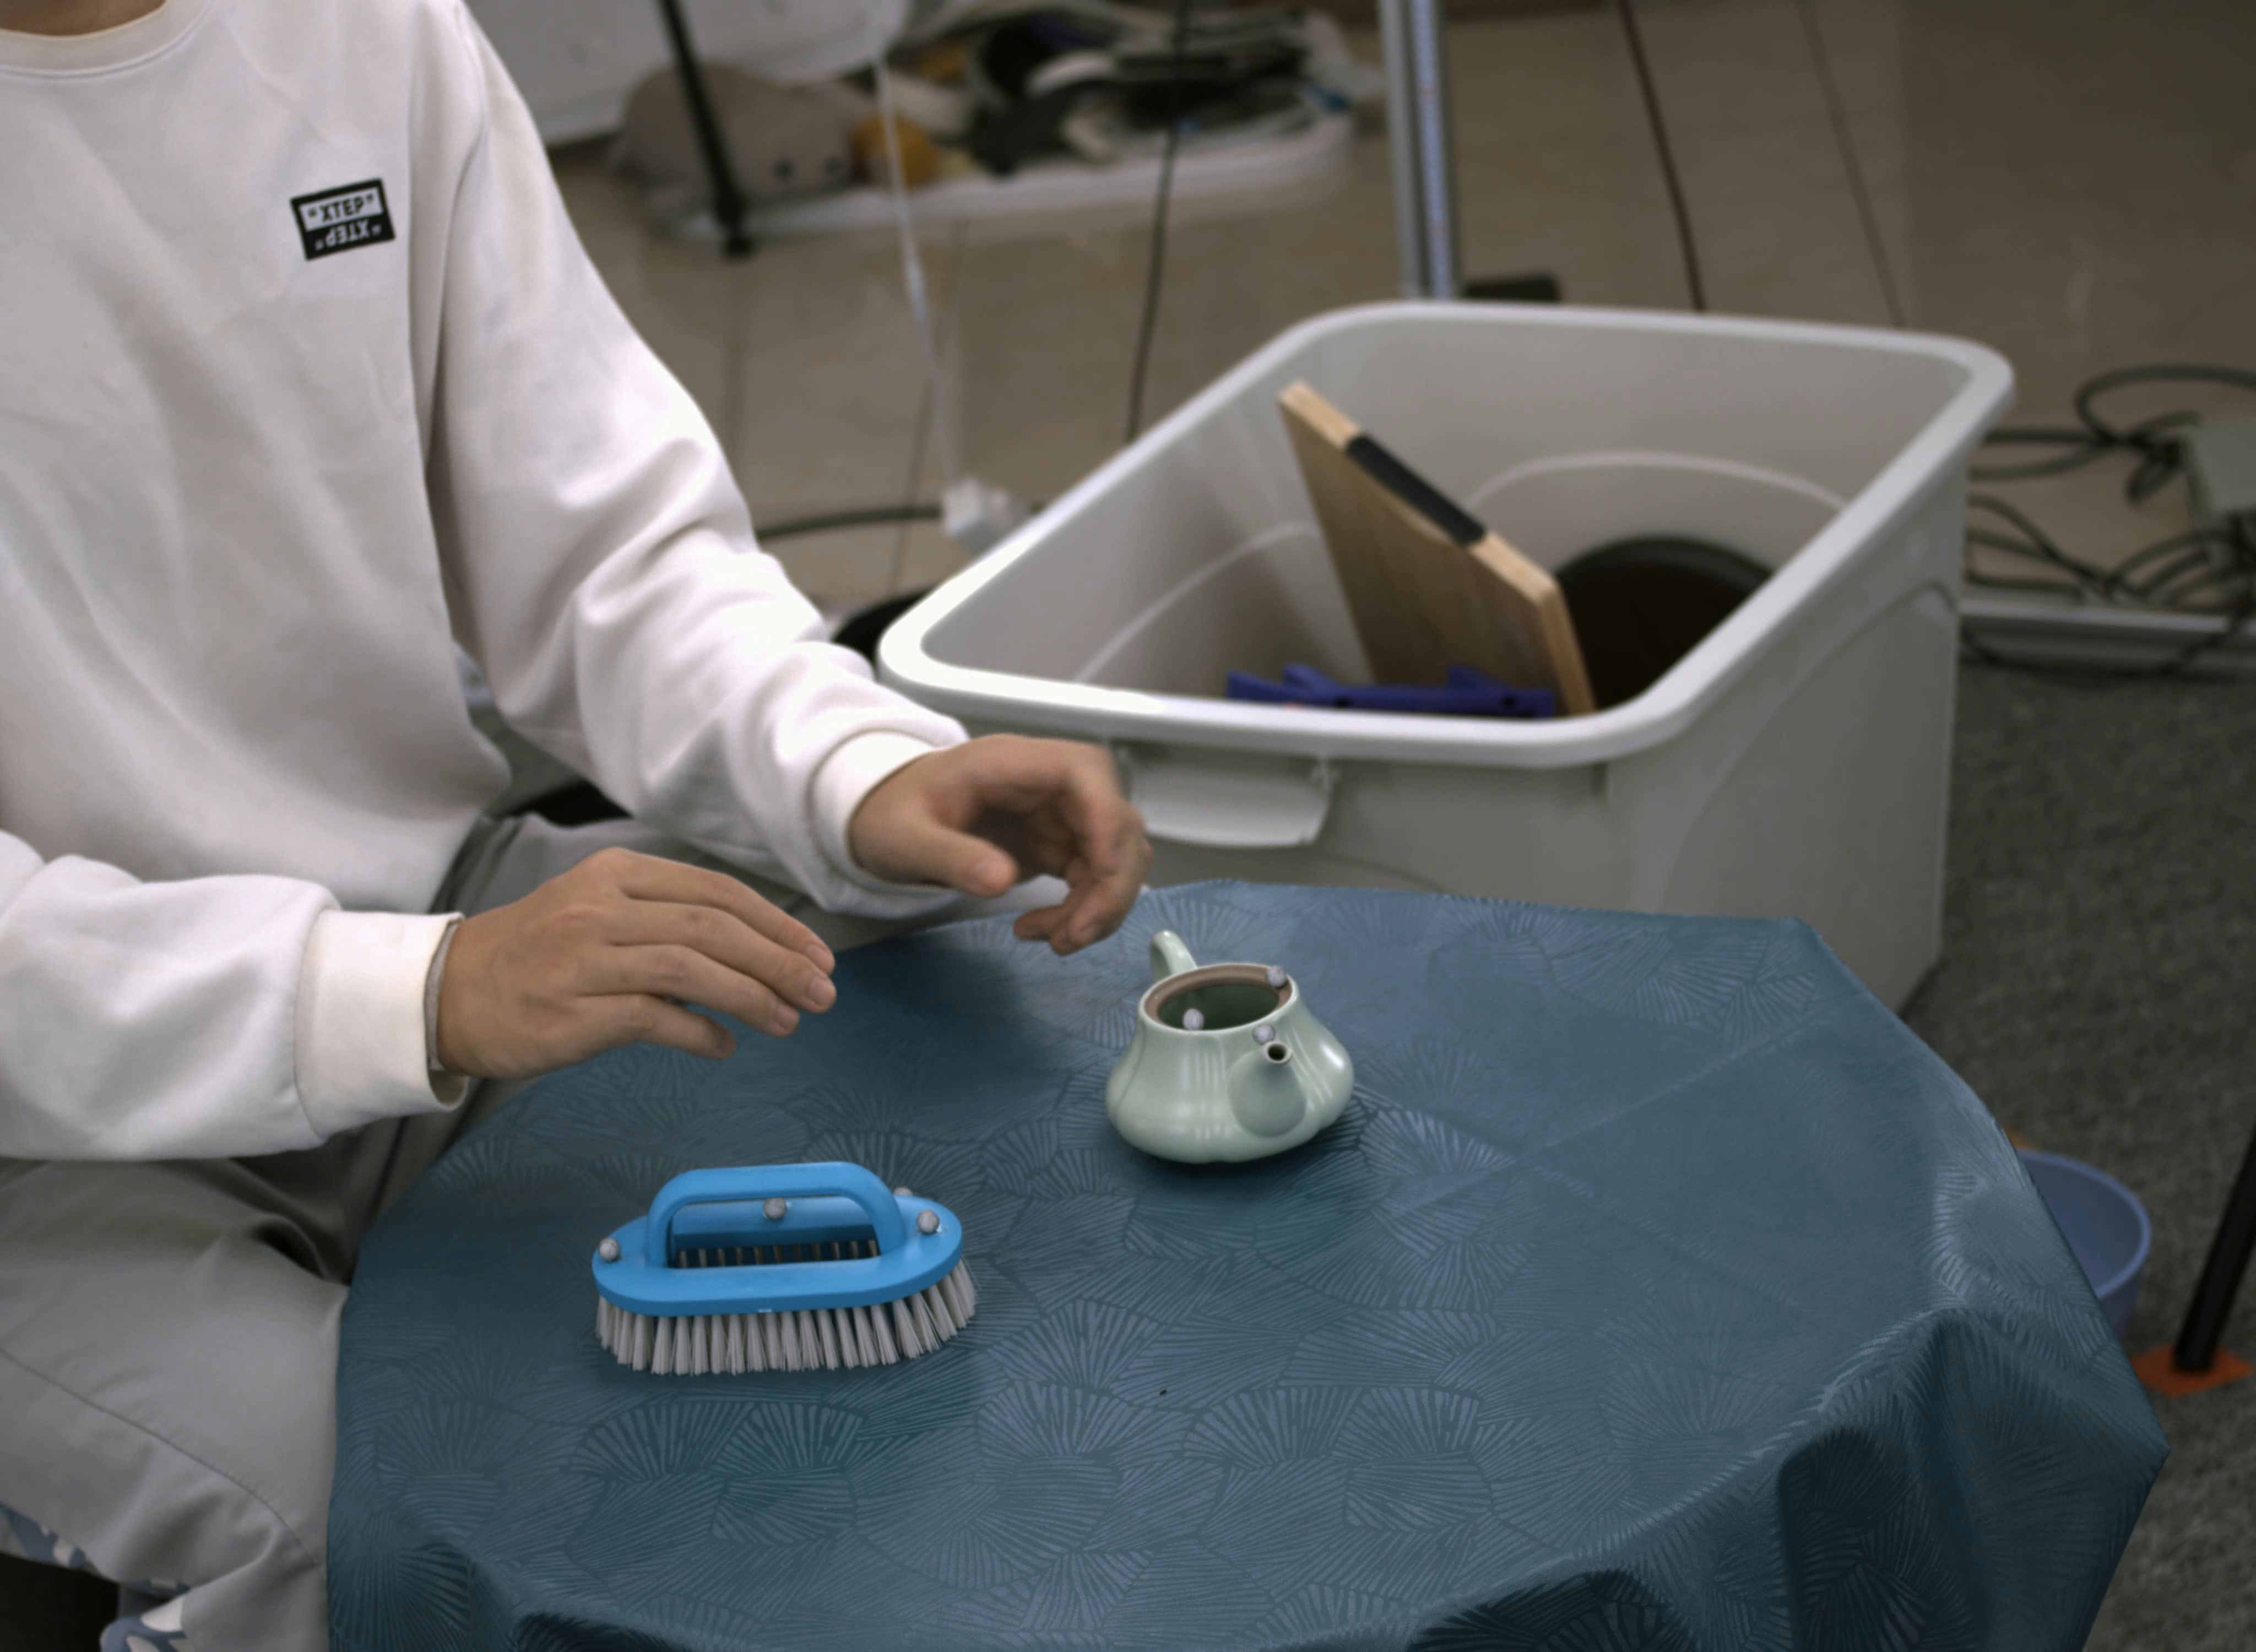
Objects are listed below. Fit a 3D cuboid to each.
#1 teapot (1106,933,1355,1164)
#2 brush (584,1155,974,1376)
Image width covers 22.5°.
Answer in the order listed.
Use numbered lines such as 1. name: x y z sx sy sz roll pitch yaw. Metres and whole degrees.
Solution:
1. teapot: 0.036 0.087 2.177 0.096 0.062 0.135 -18 27 -18
2. brush: -0.130 0.152 2.071 0.141 0.065 0.083 -3 30 8
